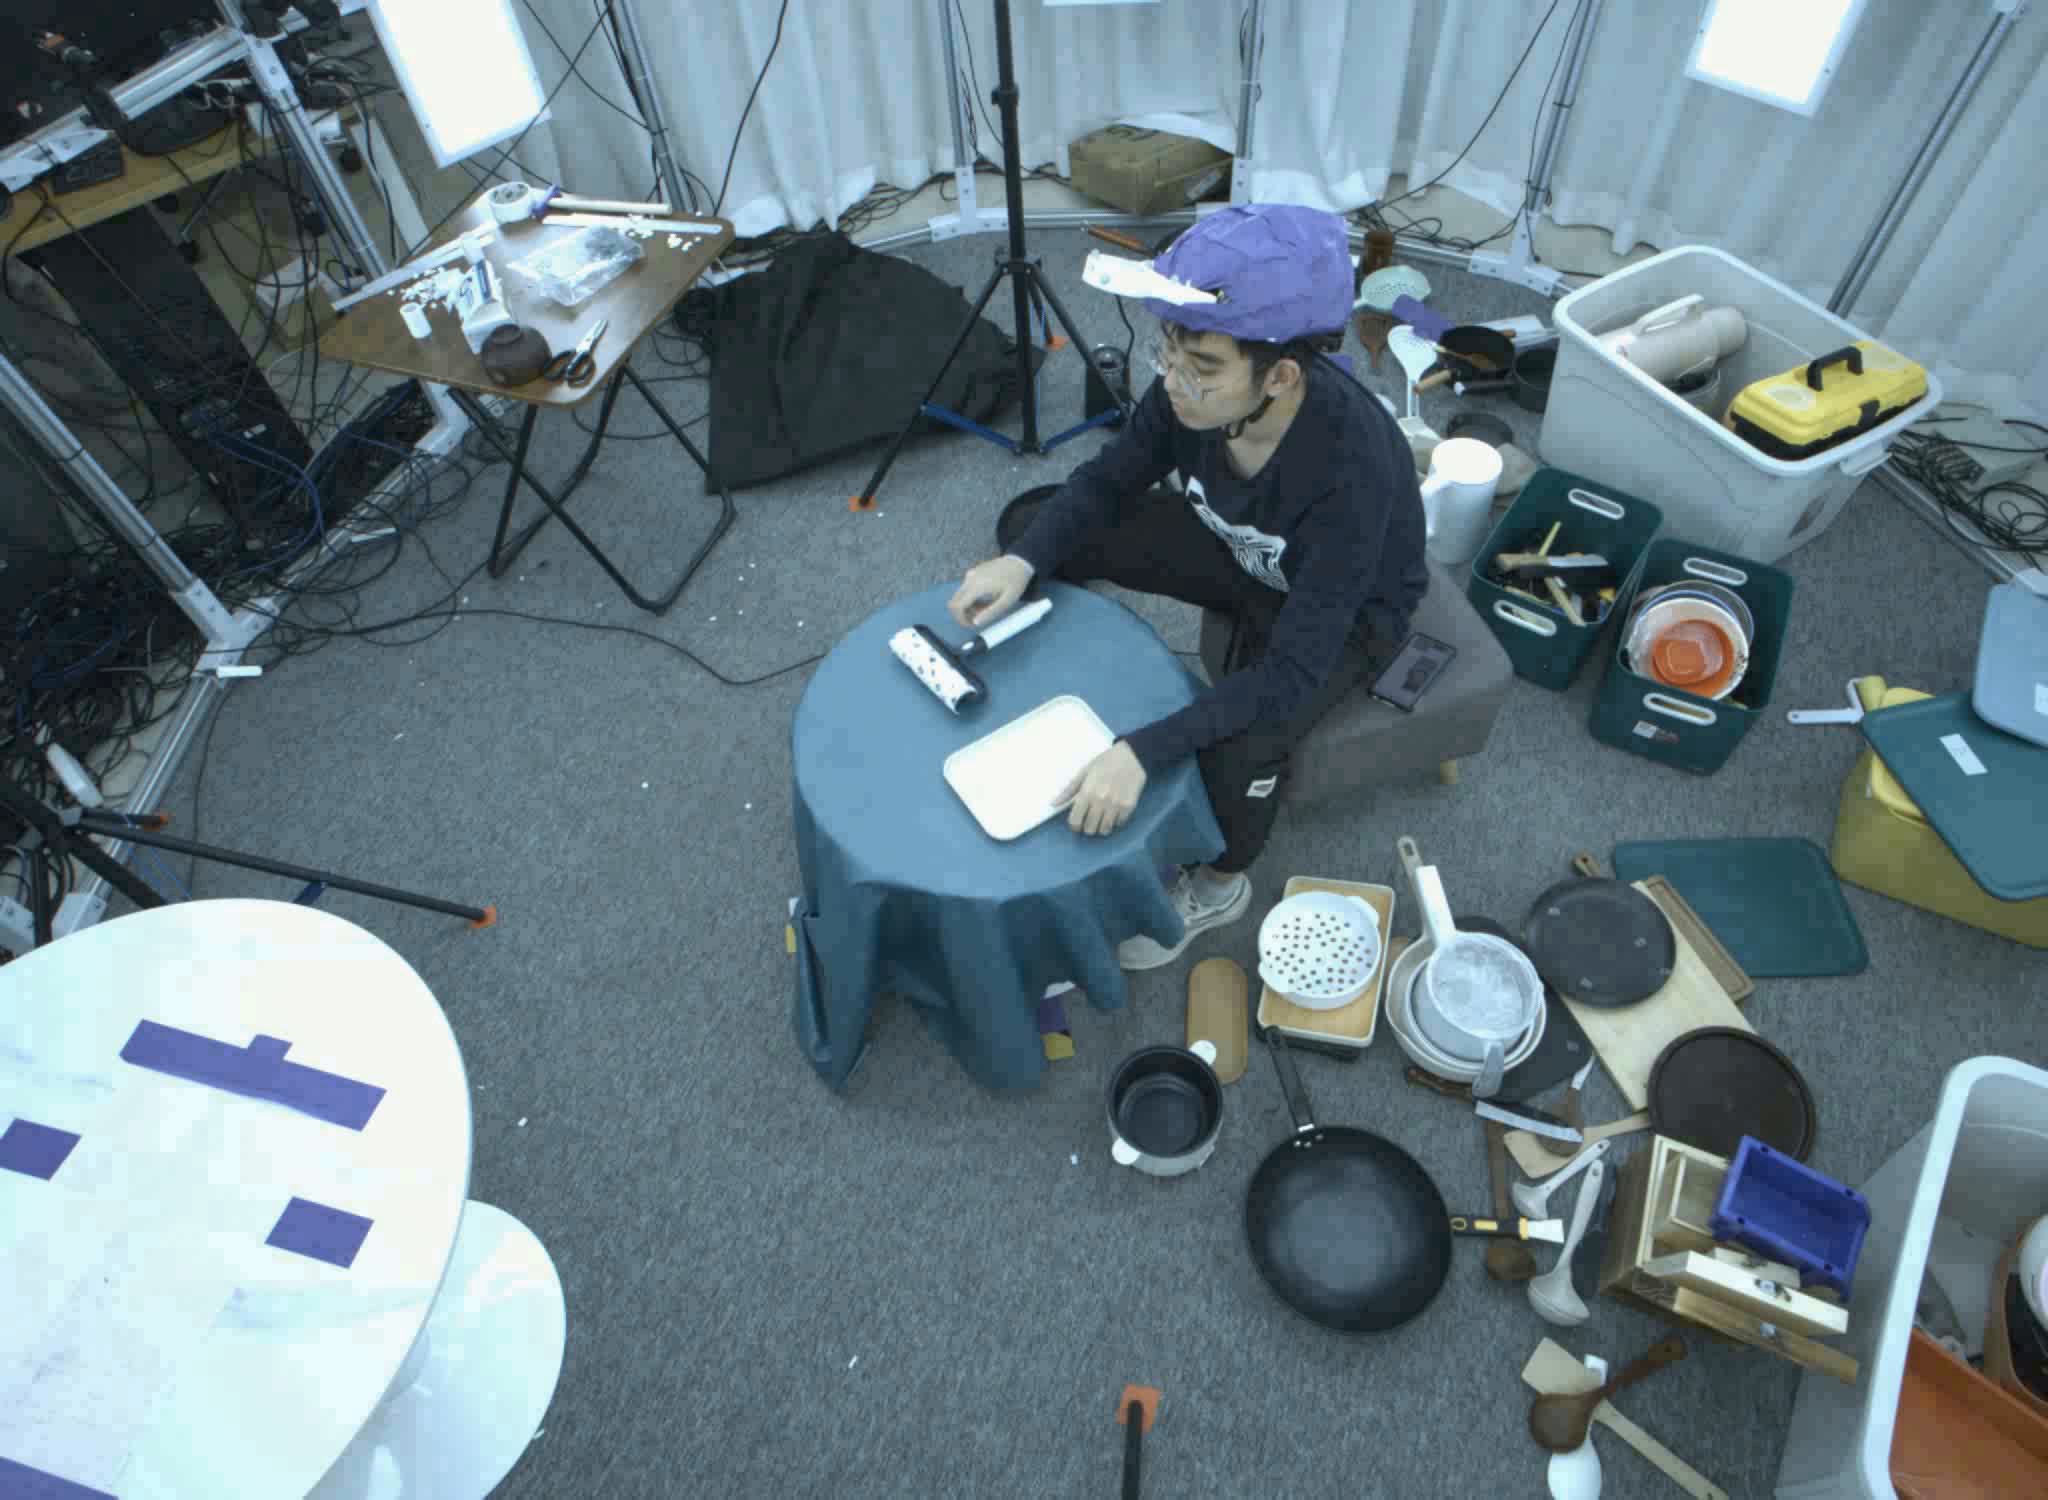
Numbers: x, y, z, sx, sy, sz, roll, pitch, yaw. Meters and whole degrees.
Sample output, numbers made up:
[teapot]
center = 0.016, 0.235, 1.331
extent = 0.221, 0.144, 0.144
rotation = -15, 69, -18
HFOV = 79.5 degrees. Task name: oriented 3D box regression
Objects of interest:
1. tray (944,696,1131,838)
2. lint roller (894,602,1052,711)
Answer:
[tray]
center = 0.019, 0.023, 1.767
extent = 0.241, 0.017, 0.168
rotation = -28, 58, -18
[lint roller]
center = -0.058, -0.174, 1.896
extent = 0.249, 0.051, 0.173
rotation = -34, 60, -23
